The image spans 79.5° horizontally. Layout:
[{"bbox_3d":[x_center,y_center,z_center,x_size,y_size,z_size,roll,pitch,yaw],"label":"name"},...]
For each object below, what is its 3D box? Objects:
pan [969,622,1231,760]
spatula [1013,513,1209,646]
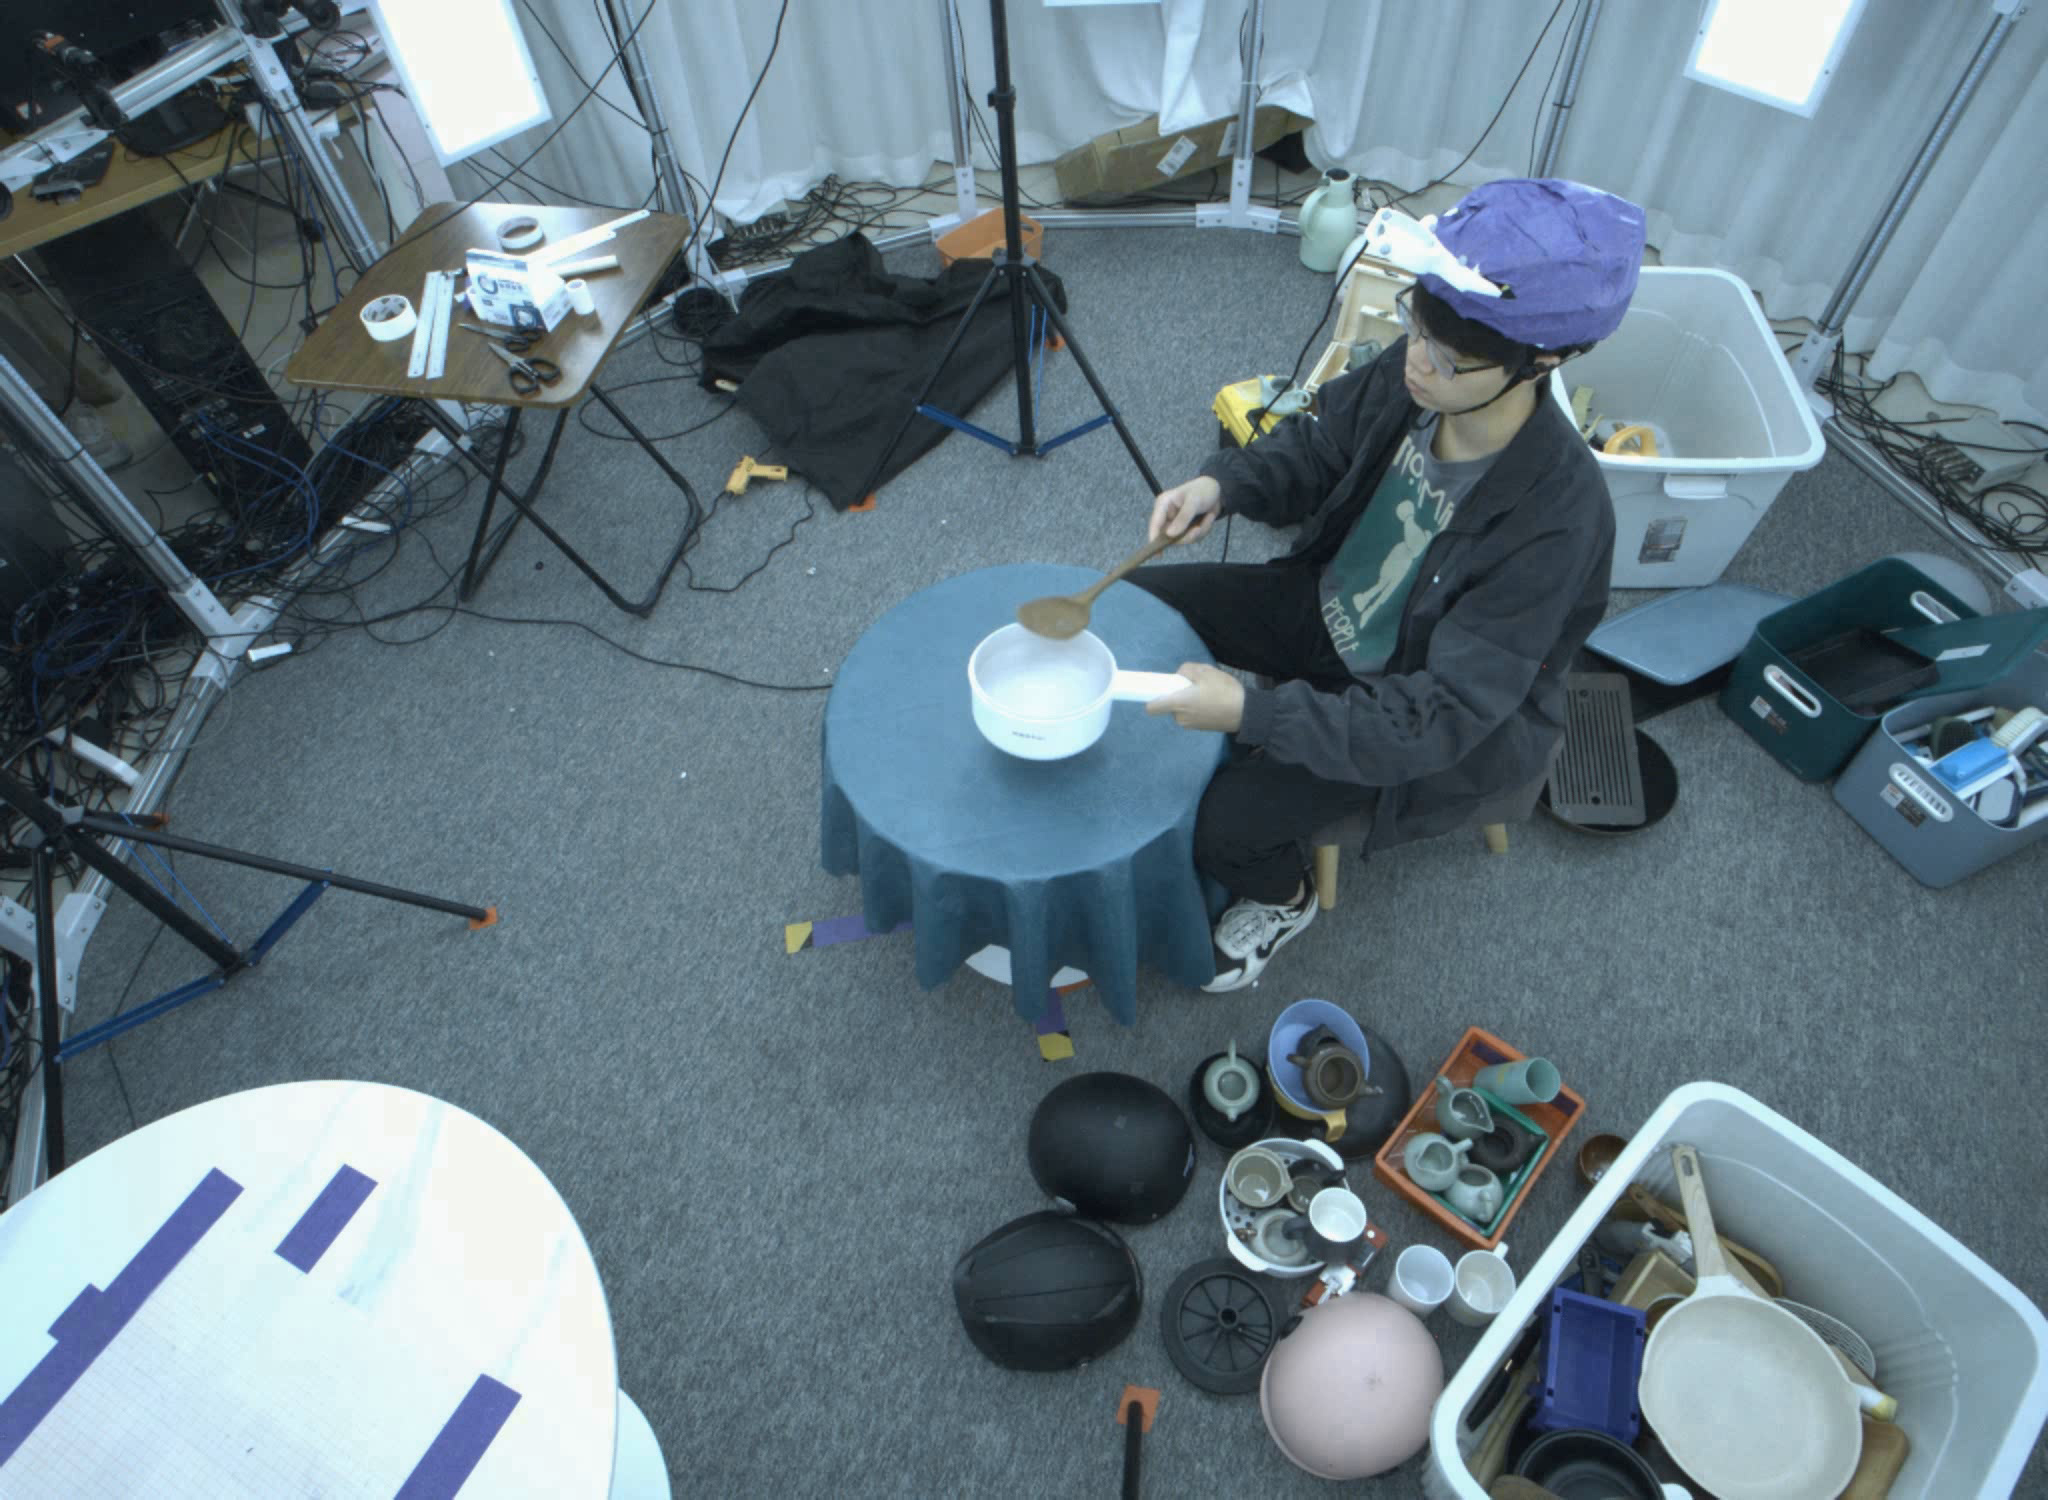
[{"bbox_3d":[0.101,-0.070,1.689,0.355,0.103,0.199,7,46,0],"label":"pan"},{"bbox_3d":[0.137,-0.246,1.693,0.094,0.016,0.389,31,52,29],"label":"spatula"}]
